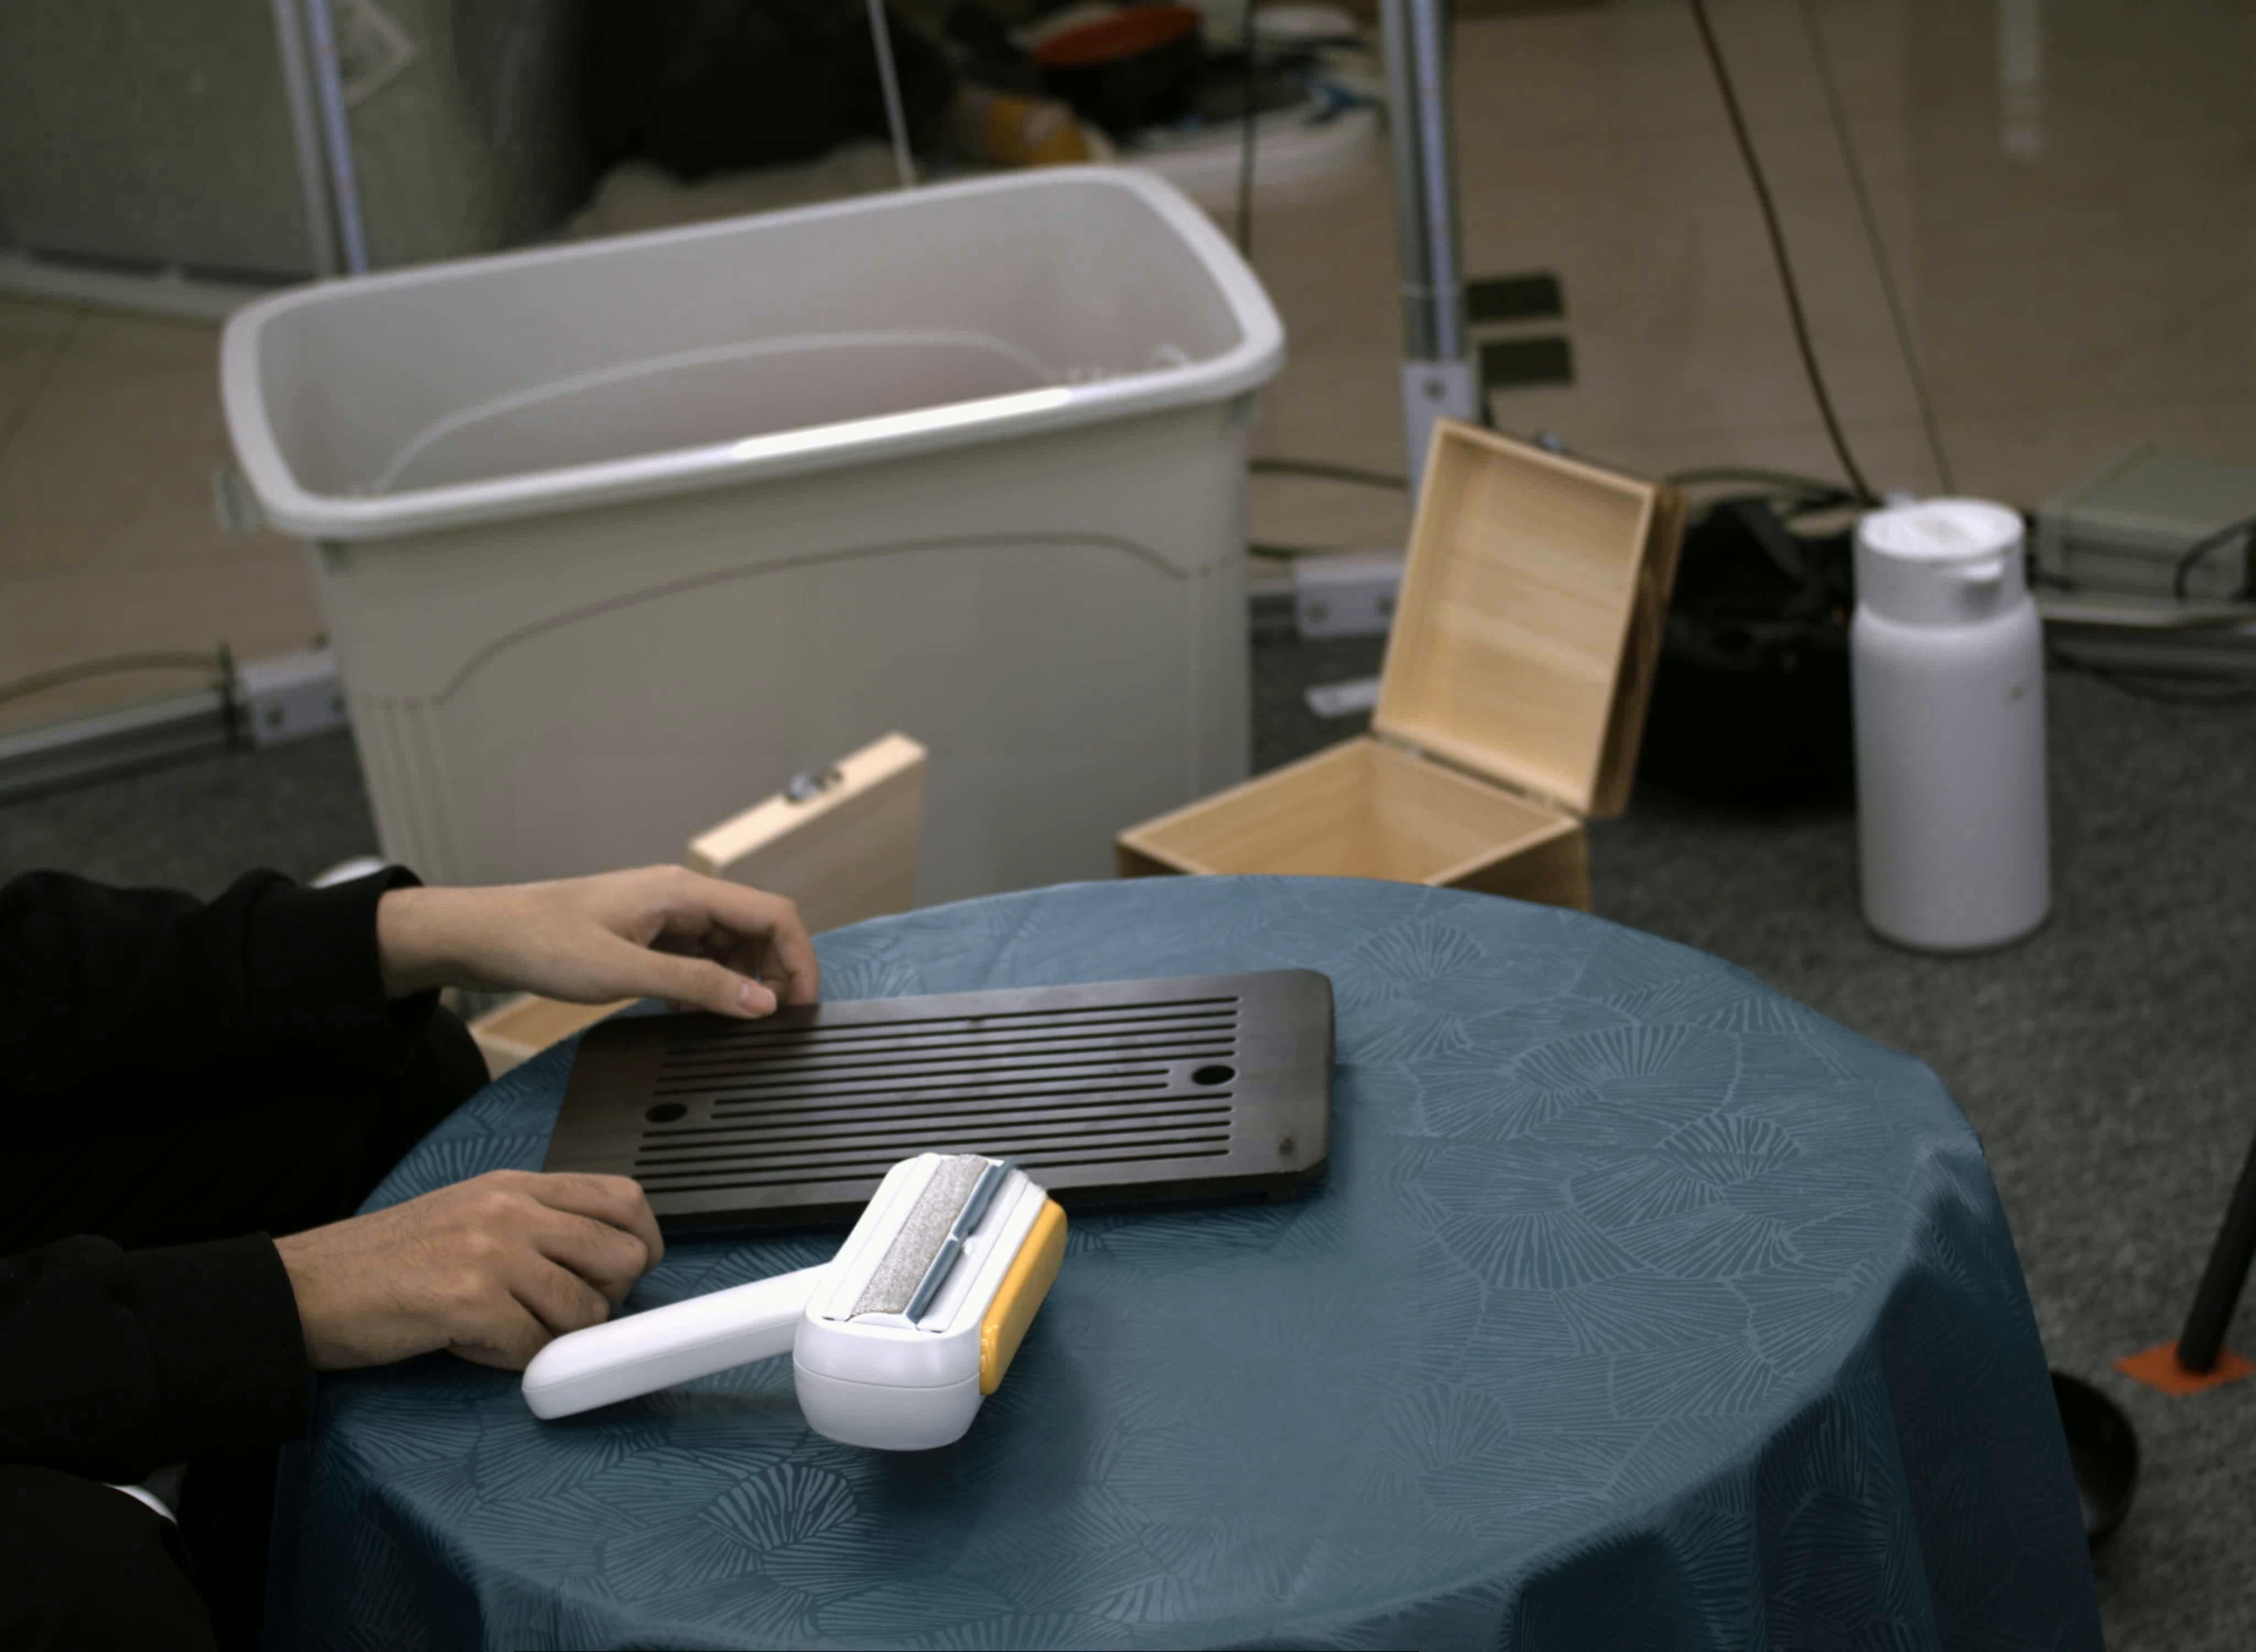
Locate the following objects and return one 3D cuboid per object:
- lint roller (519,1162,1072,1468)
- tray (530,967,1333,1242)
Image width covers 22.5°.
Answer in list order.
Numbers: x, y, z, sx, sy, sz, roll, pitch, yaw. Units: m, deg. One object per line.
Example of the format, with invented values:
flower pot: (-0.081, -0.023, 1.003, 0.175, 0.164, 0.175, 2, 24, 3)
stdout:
lint roller: (-0.127, 0.177, 2.014, 0.192, 0.075, 0.190, -2, 20, 14)
tray: (-0.073, 0.109, 2.205, 0.305, 0.019, 0.167, -4, 25, 5)
